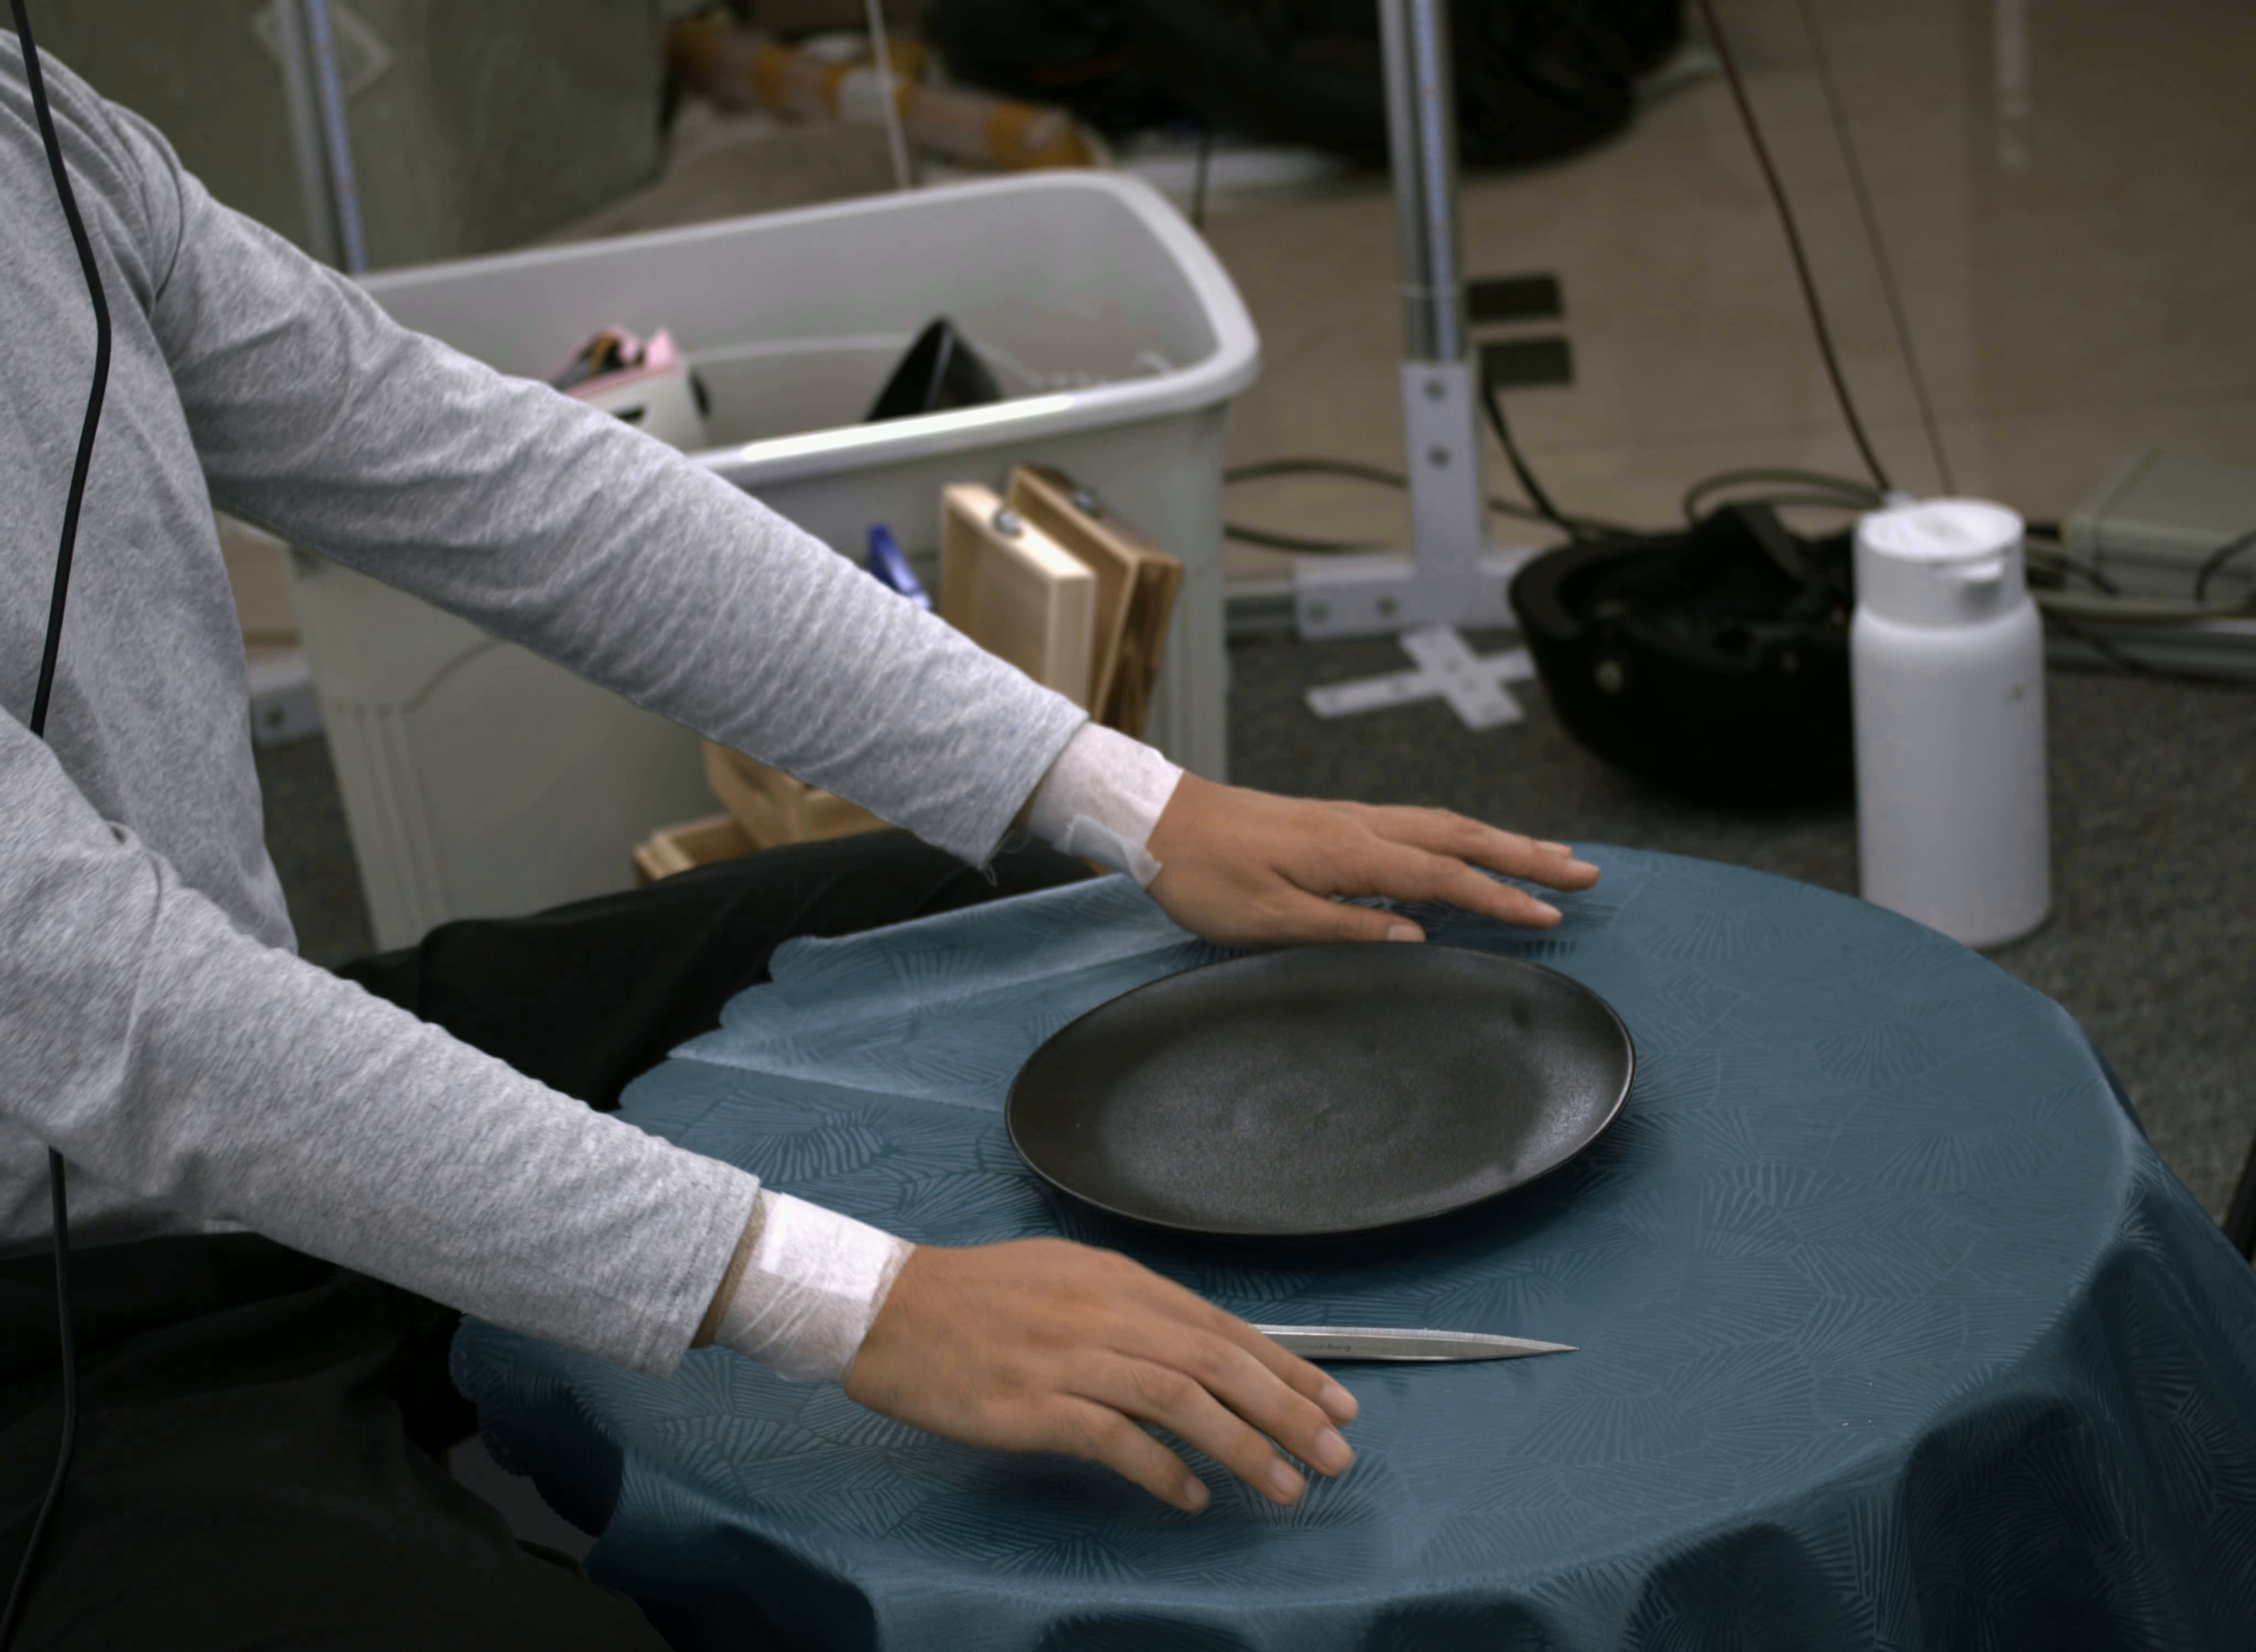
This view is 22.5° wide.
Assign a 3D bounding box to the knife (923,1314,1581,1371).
[{"bbox_3d":[0.043,0.185,2.029,0.238,0.016,0.024,0,25,7],"label":"knife"}]

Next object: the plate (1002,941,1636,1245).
[{"bbox_3d":[0.074,0.107,2.175,0.244,0.024,0.241,-5,25,3],"label":"plate"}]
